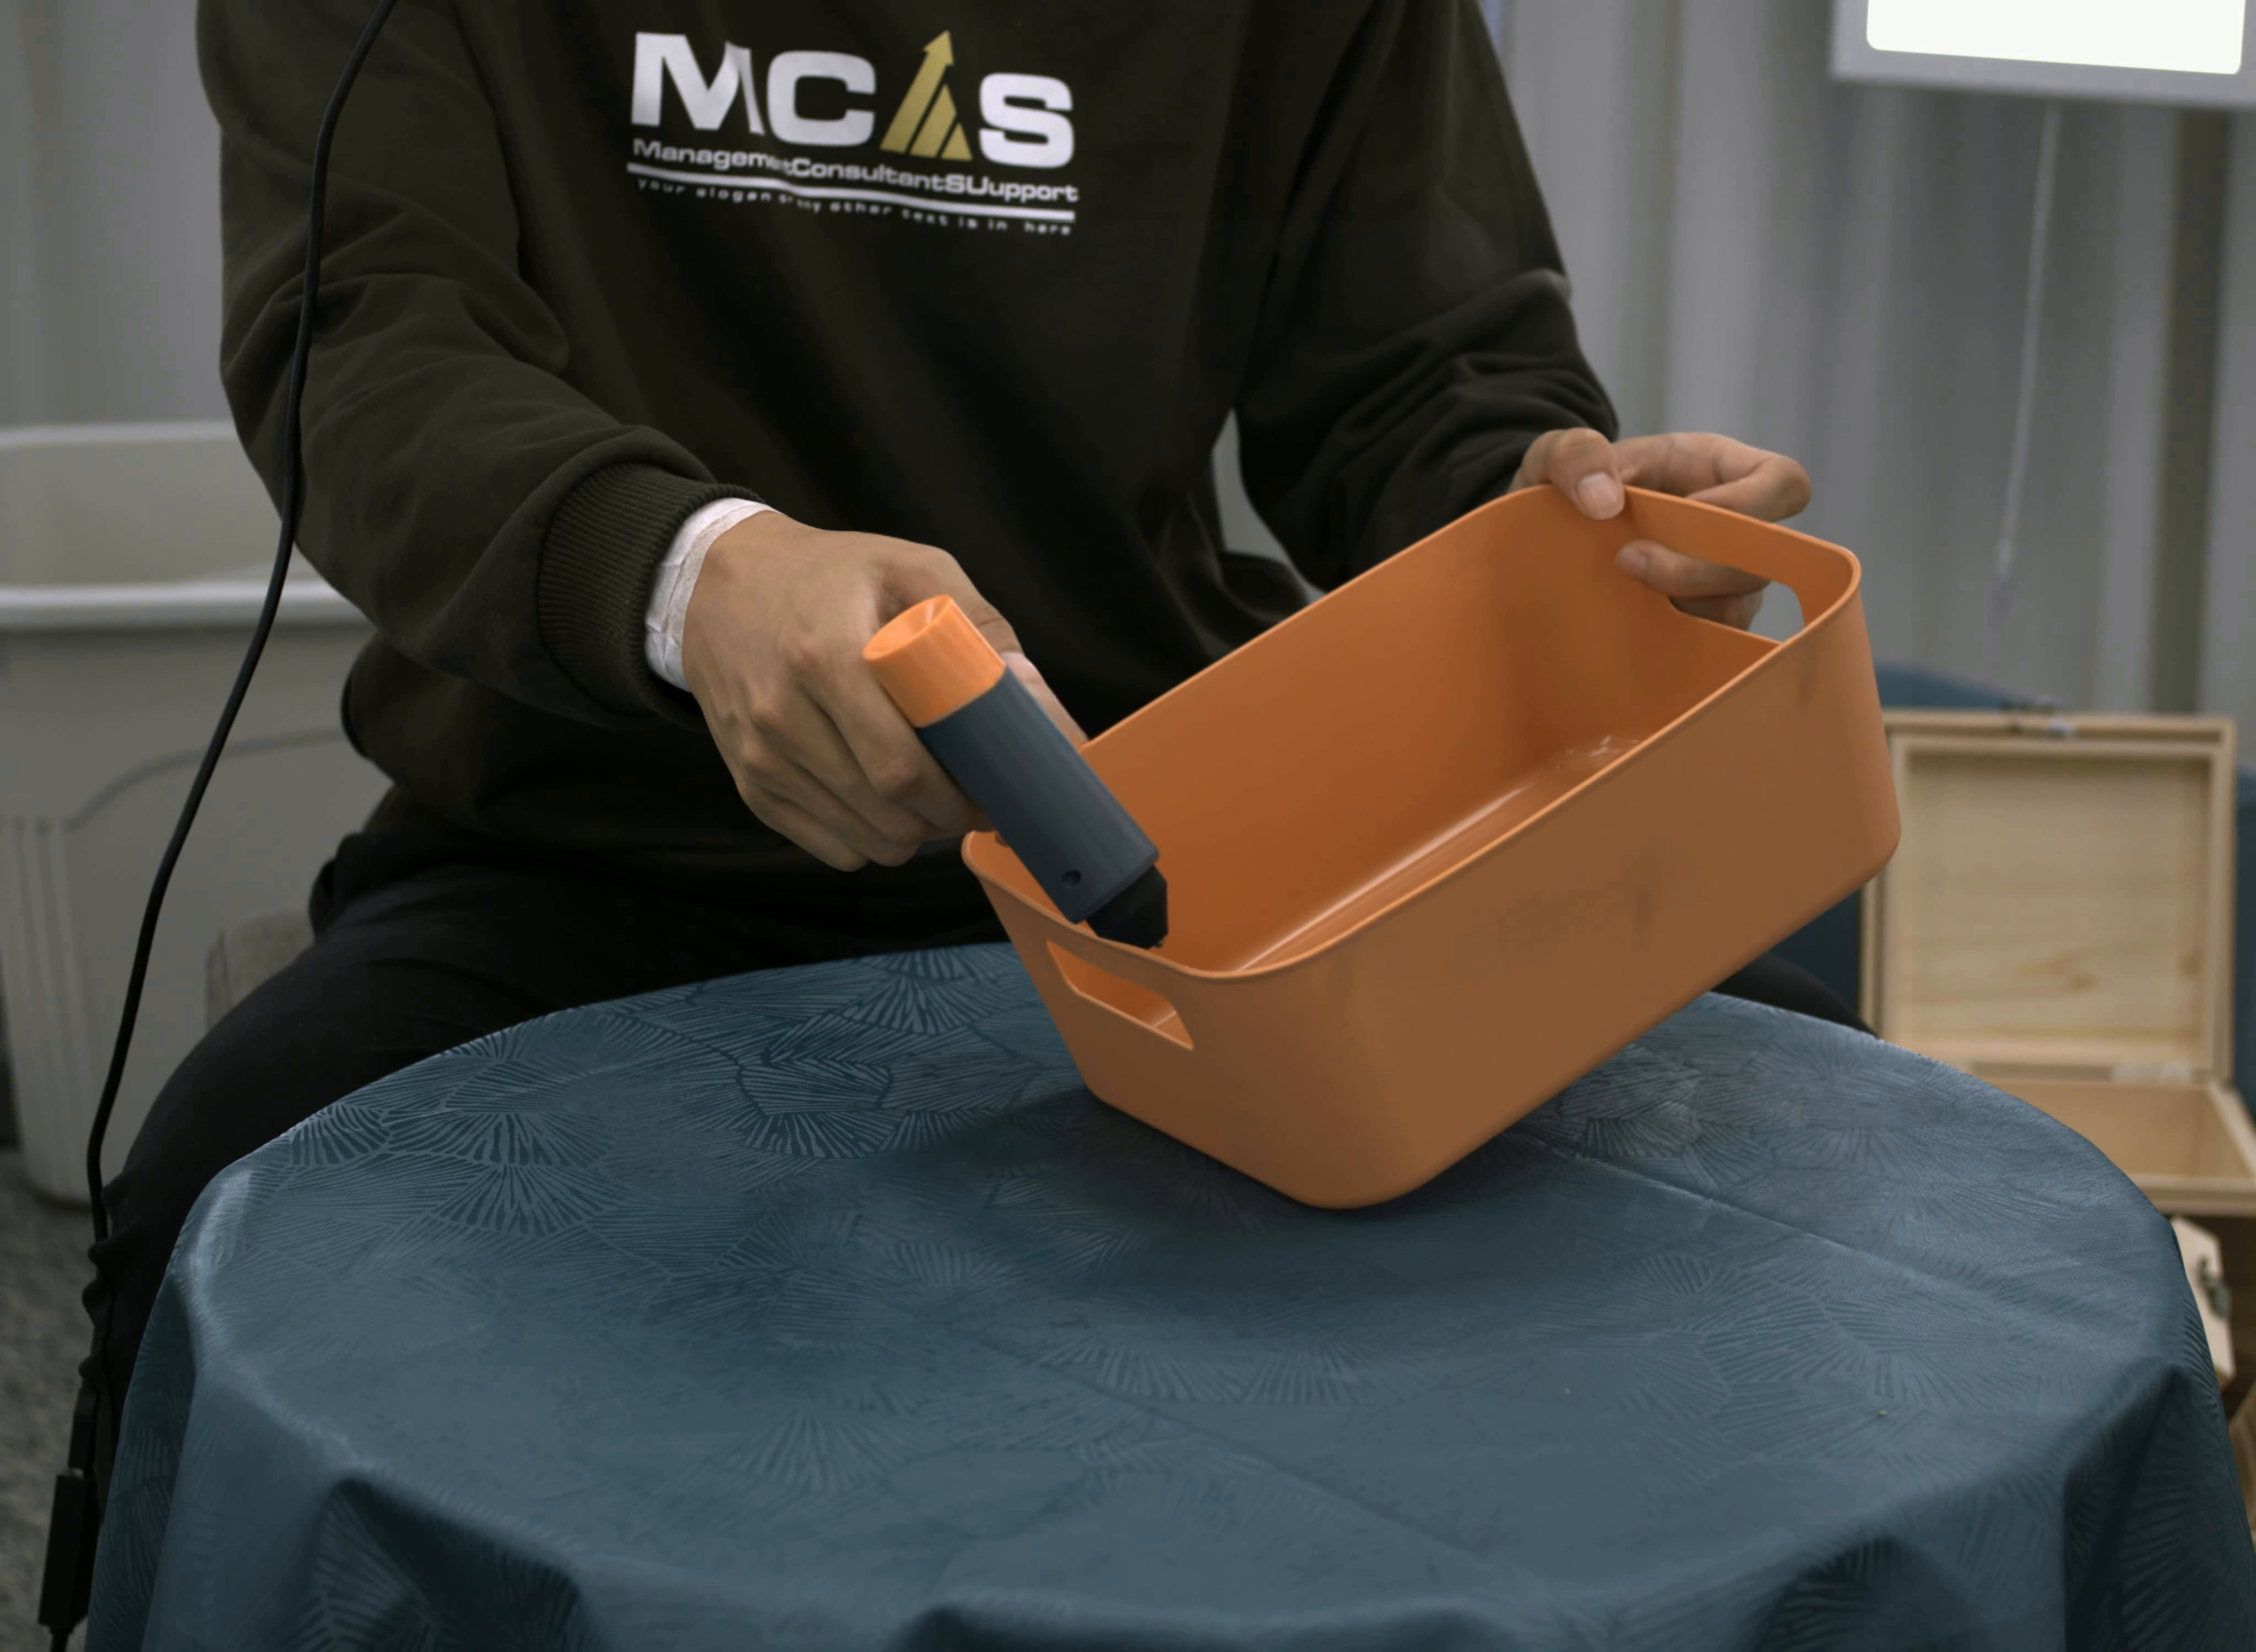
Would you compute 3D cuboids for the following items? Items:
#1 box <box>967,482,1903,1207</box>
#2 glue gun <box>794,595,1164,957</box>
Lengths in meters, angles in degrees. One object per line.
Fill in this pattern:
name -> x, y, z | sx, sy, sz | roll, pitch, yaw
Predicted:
box -> 0.104, 0.005, 1.688 | 0.273, 0.104, 0.197 | -33, 28, -23
glue gun -> -0.045, -0.015, 1.595 | 0.041, 0.119, 0.138 | -38, 19, -16
